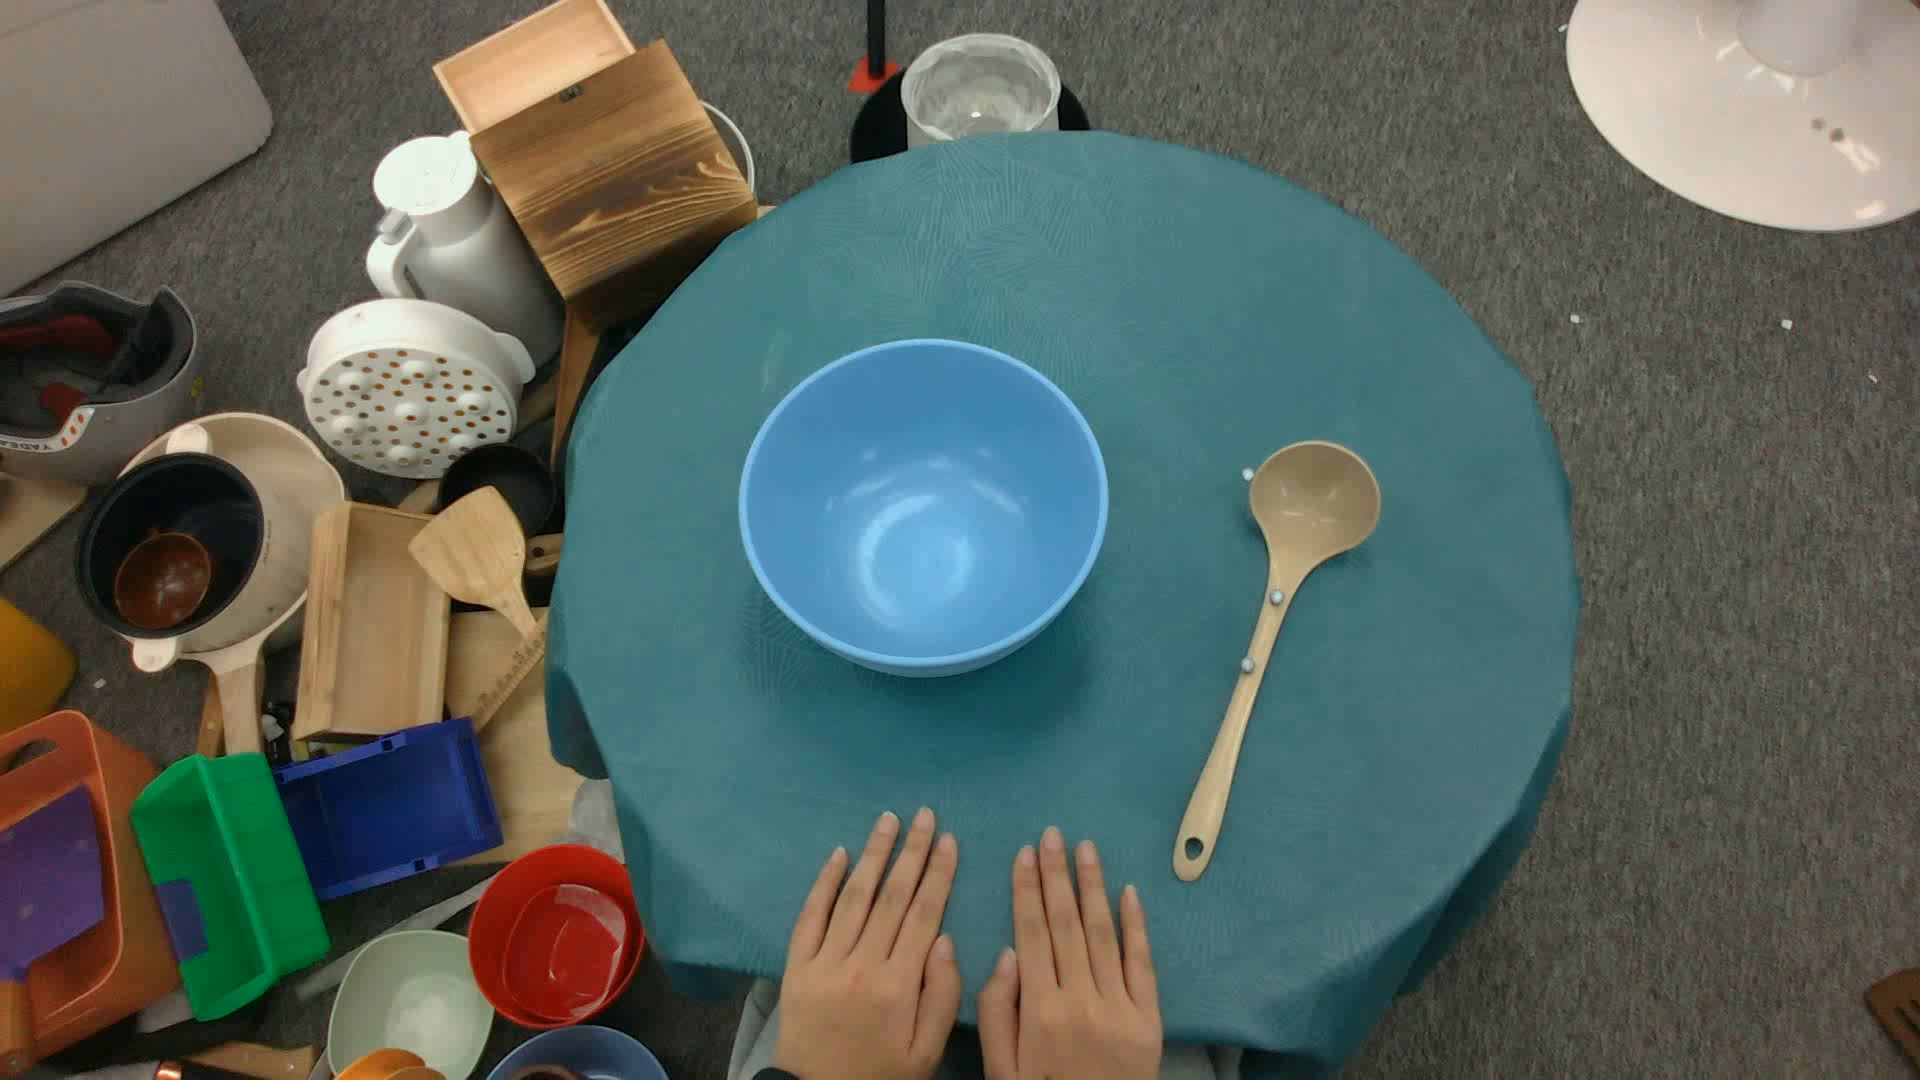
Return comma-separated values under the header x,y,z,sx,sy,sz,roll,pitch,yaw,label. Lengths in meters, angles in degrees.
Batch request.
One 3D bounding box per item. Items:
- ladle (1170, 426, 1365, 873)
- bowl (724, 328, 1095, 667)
x,y,z,sx,sy,sz,roll,pitch,yaw,label
0.159,0.052,0.746,0.072,0.072,0.255,18,65,10,ladle
-0.027,-0.011,0.769,0.196,0.095,0.197,1,64,-1,bowl
